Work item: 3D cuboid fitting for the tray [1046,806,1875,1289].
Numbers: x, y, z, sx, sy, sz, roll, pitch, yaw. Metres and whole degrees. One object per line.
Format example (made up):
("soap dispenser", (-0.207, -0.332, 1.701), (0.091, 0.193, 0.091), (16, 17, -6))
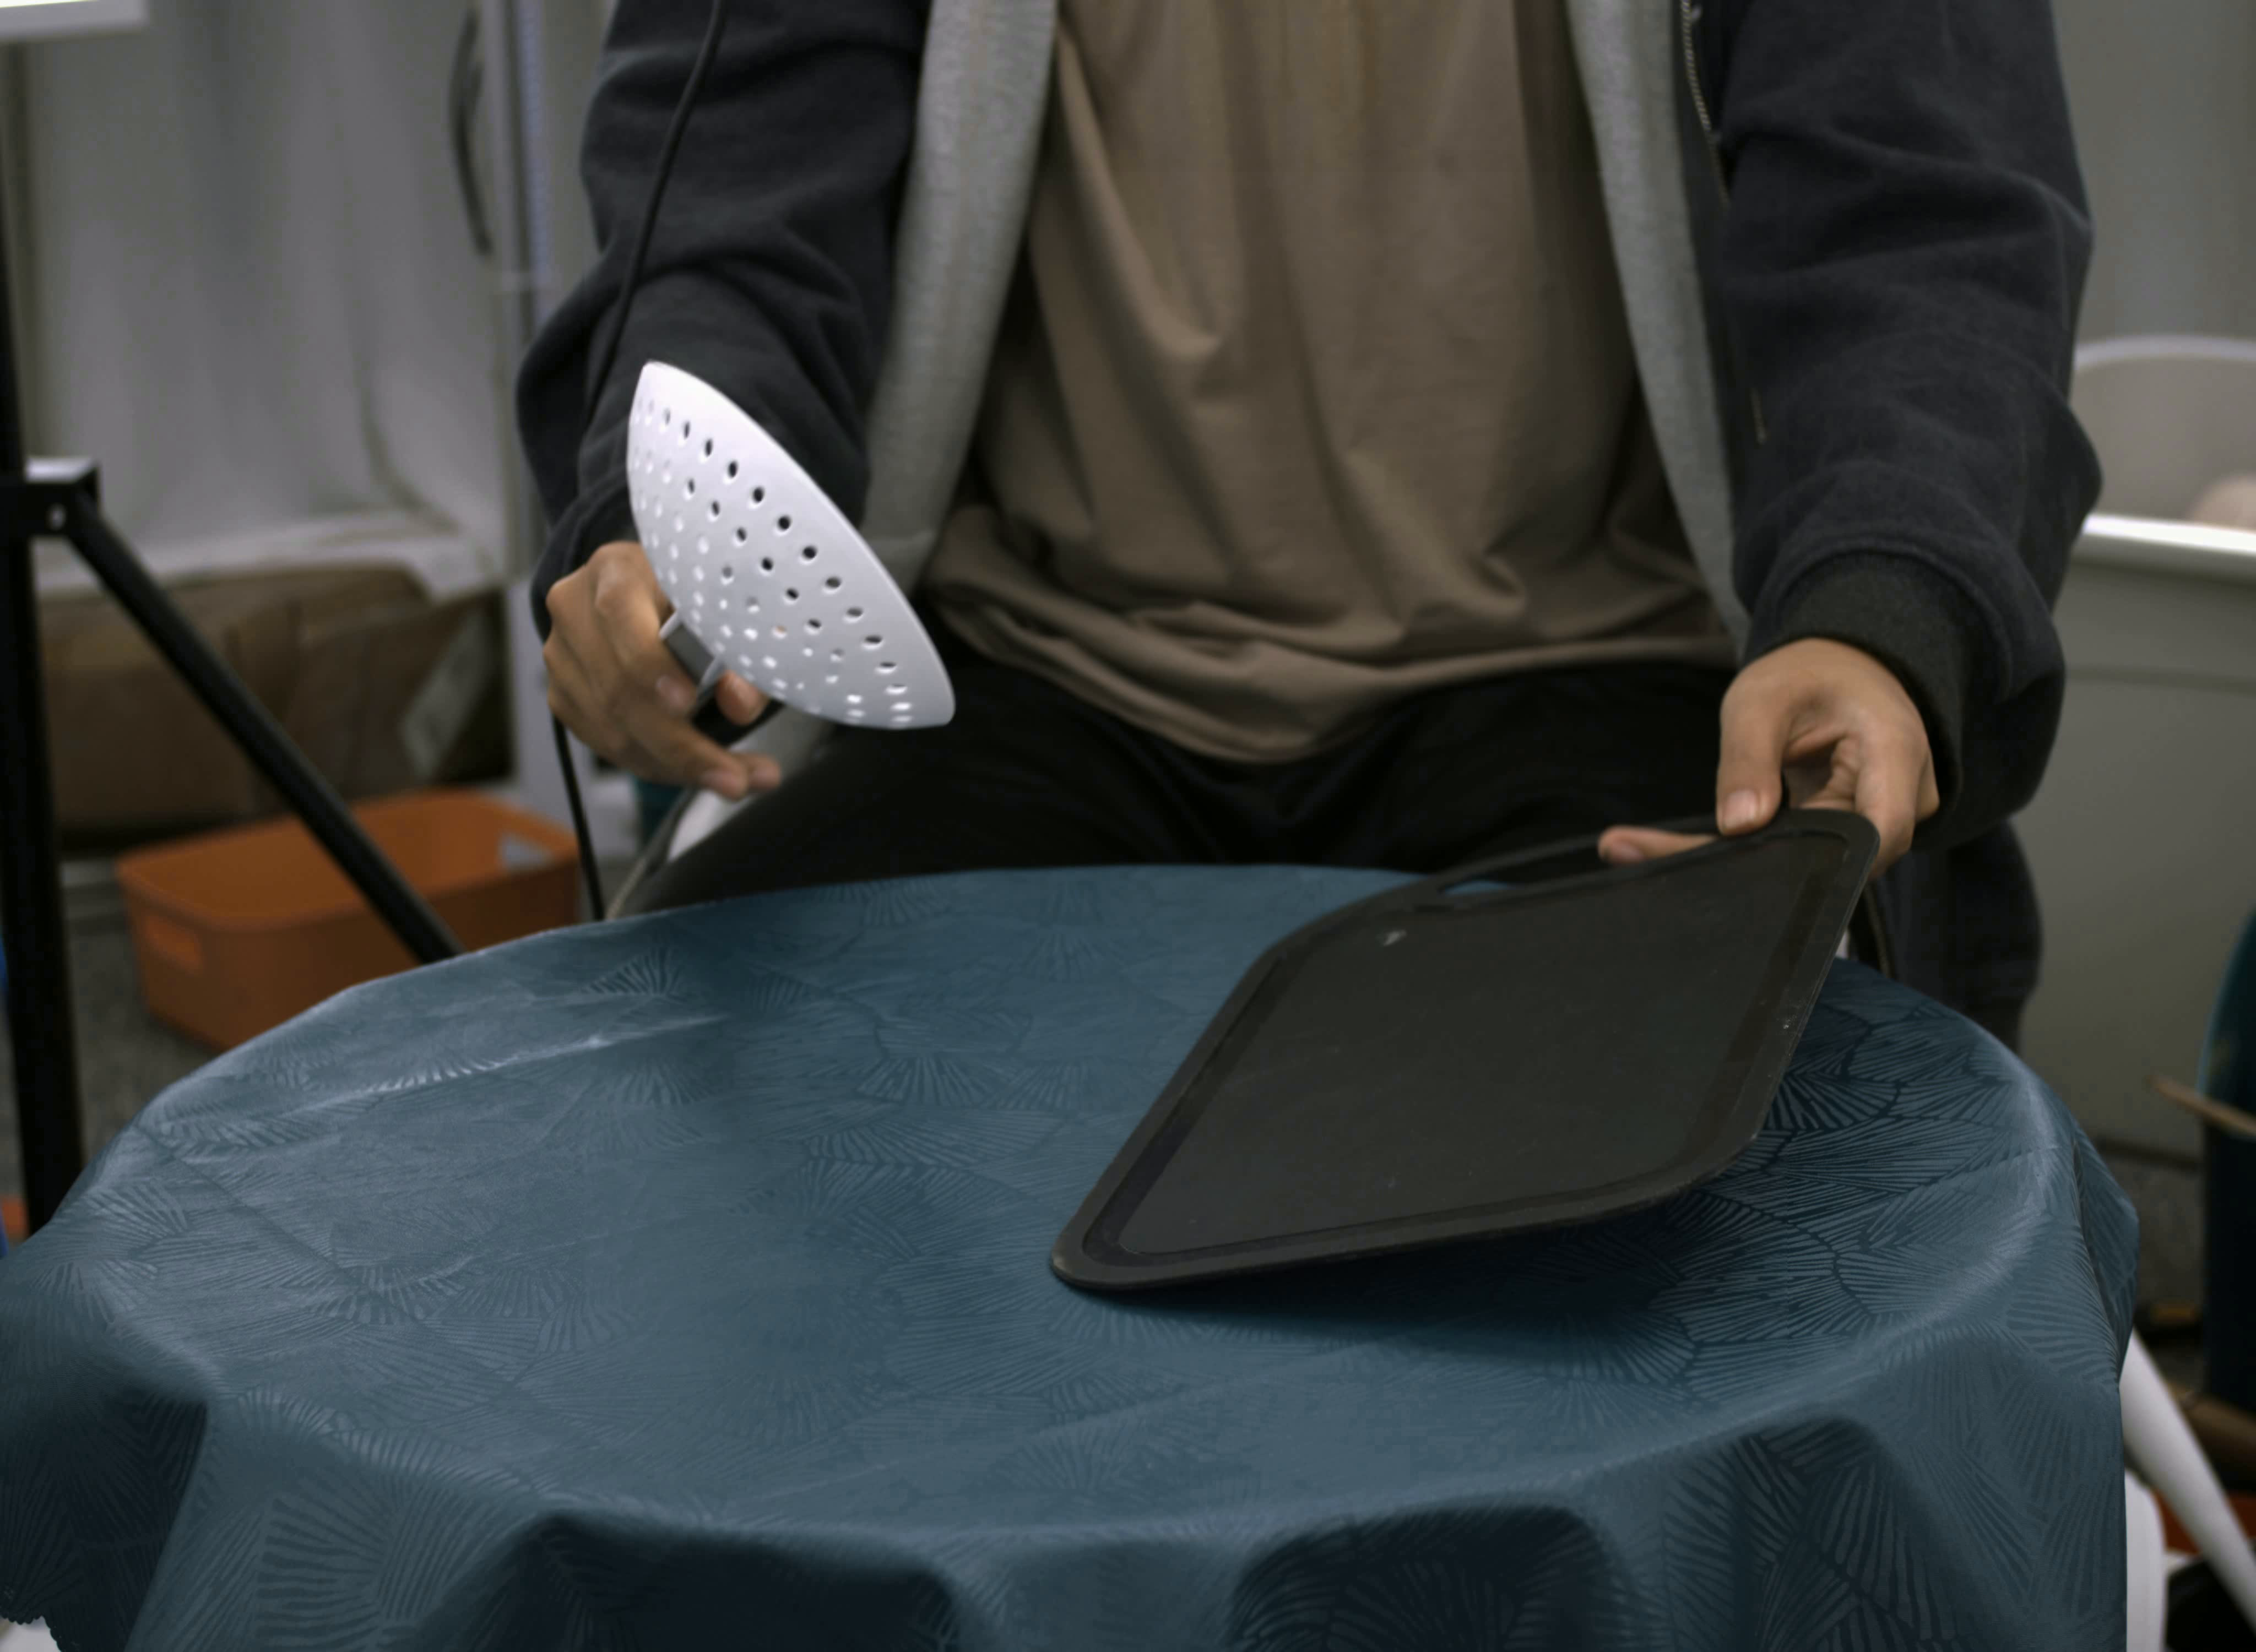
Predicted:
("tray", (0.106, 0.059, 1.582), (0.213, 0.010, 0.323), (-11, 18, 22))

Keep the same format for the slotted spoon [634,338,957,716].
("slotted spoon", (-0.122, -0.072, 1.664), (0.045, 0.136, 0.351), (-38, 3, -8))
